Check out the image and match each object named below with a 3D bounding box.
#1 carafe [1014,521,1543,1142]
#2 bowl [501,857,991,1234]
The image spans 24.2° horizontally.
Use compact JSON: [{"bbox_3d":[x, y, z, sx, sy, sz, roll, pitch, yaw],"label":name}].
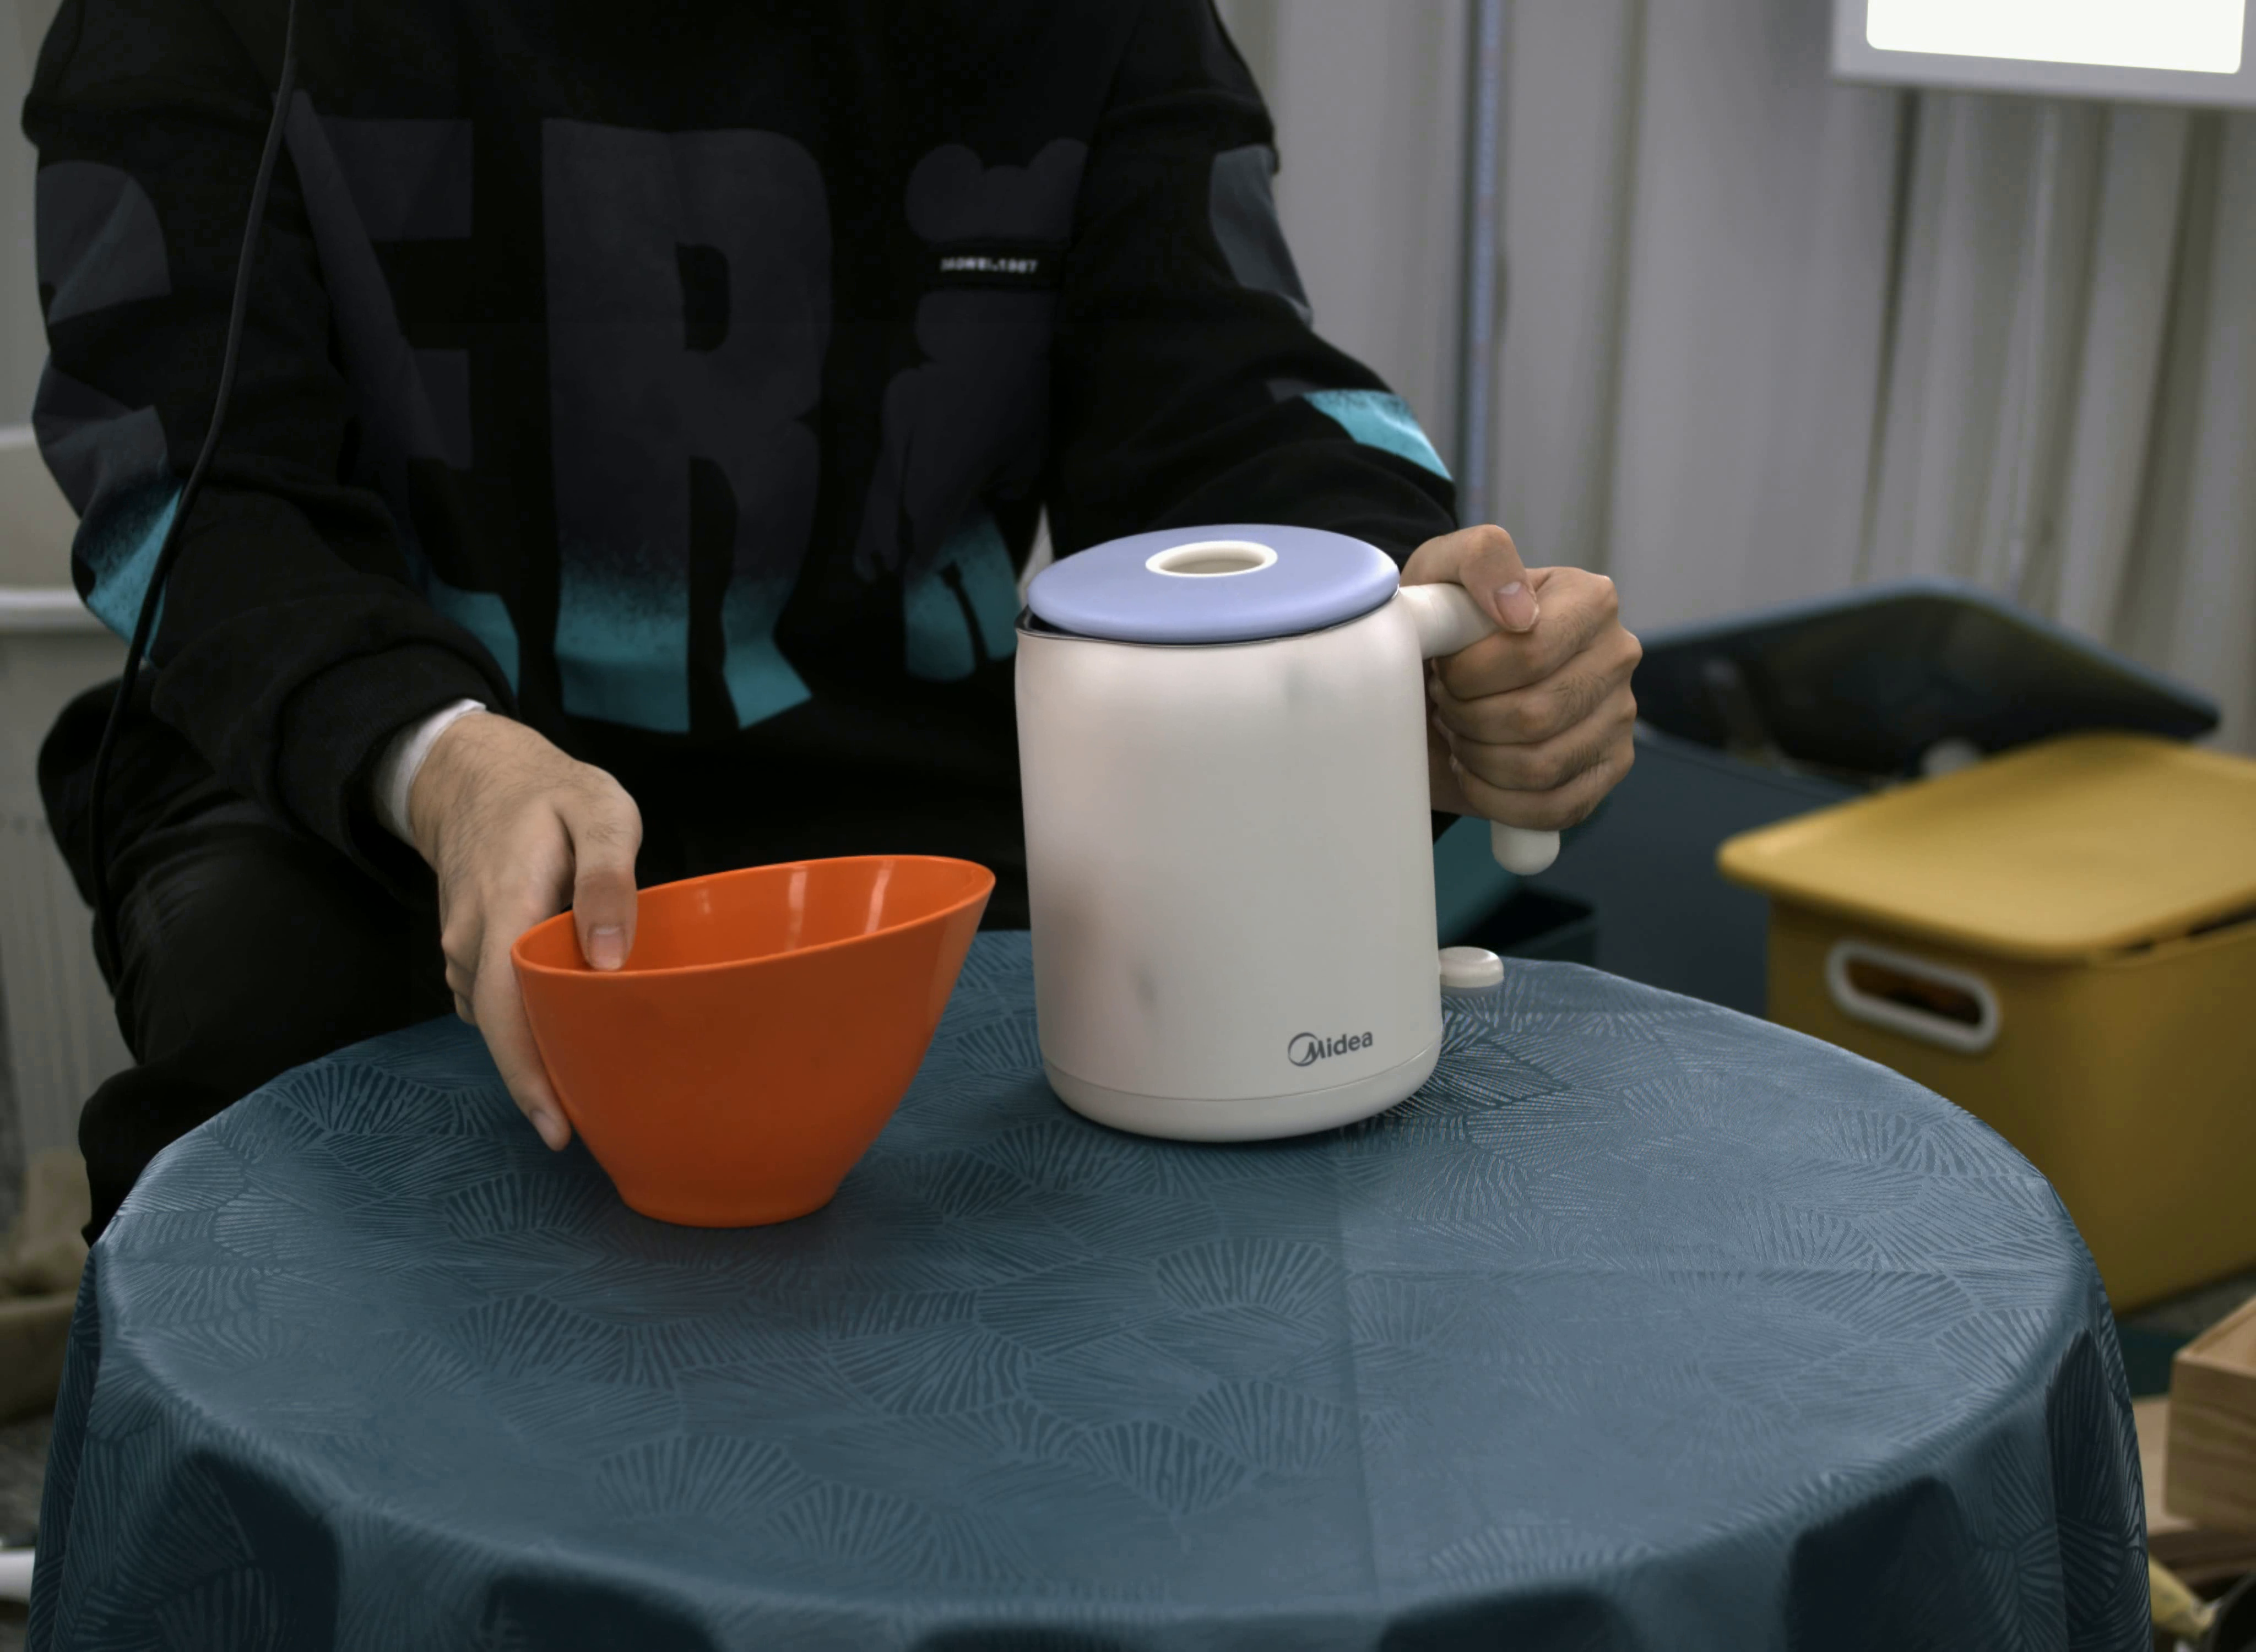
[{"bbox_3d":[0.052,-0.003,1.697,0.192,0.184,0.130,-10,20,-27],"label":"carafe"},{"bbox_3d":[-0.115,0.066,1.594,0.147,0.105,0.147,1,17,0],"label":"bowl"}]
